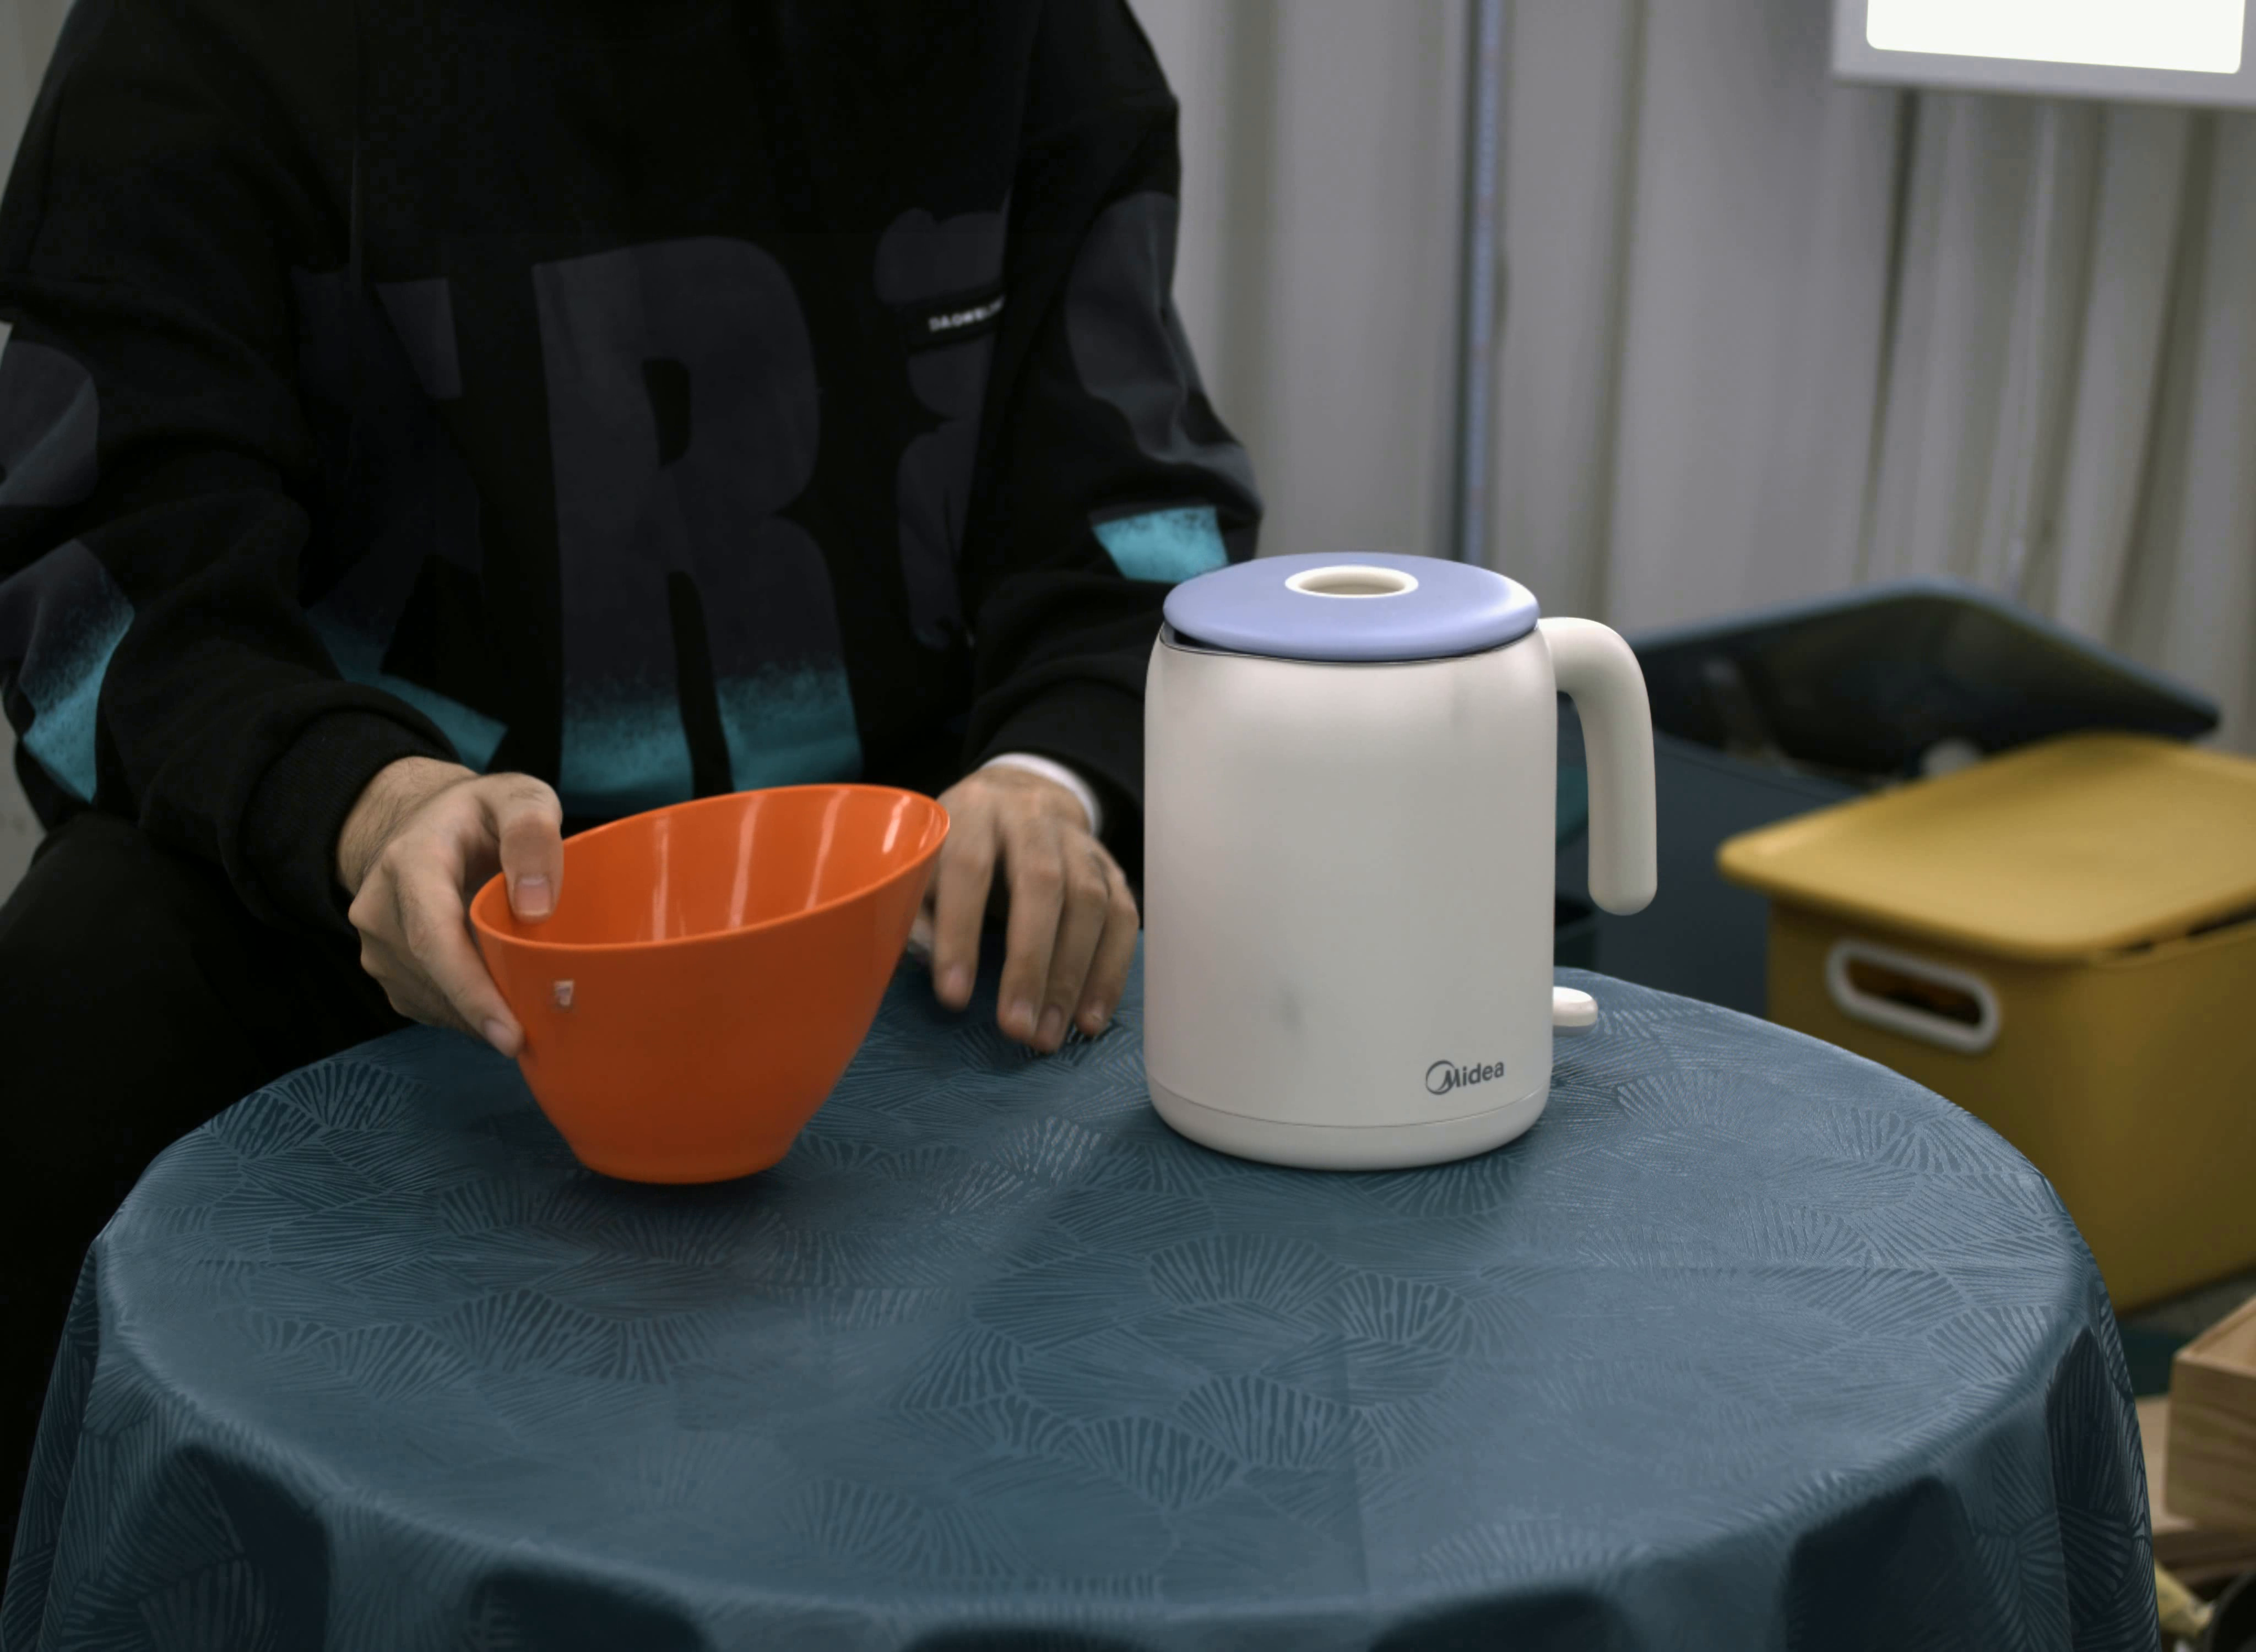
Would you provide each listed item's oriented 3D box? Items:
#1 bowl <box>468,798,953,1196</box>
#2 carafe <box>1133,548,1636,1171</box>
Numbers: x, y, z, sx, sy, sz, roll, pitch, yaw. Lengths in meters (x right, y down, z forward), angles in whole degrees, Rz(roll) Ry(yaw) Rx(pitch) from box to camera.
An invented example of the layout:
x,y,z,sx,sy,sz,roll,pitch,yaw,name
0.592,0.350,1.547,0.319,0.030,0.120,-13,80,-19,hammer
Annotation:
x,y,z,sx,sy,sz,roll,pitch,yaw,name
-0.127,0.053,1.609,0.147,0.105,0.147,1,15,0,bowl
0.089,0.007,1.683,0.192,0.184,0.130,-8,19,-34,carafe
